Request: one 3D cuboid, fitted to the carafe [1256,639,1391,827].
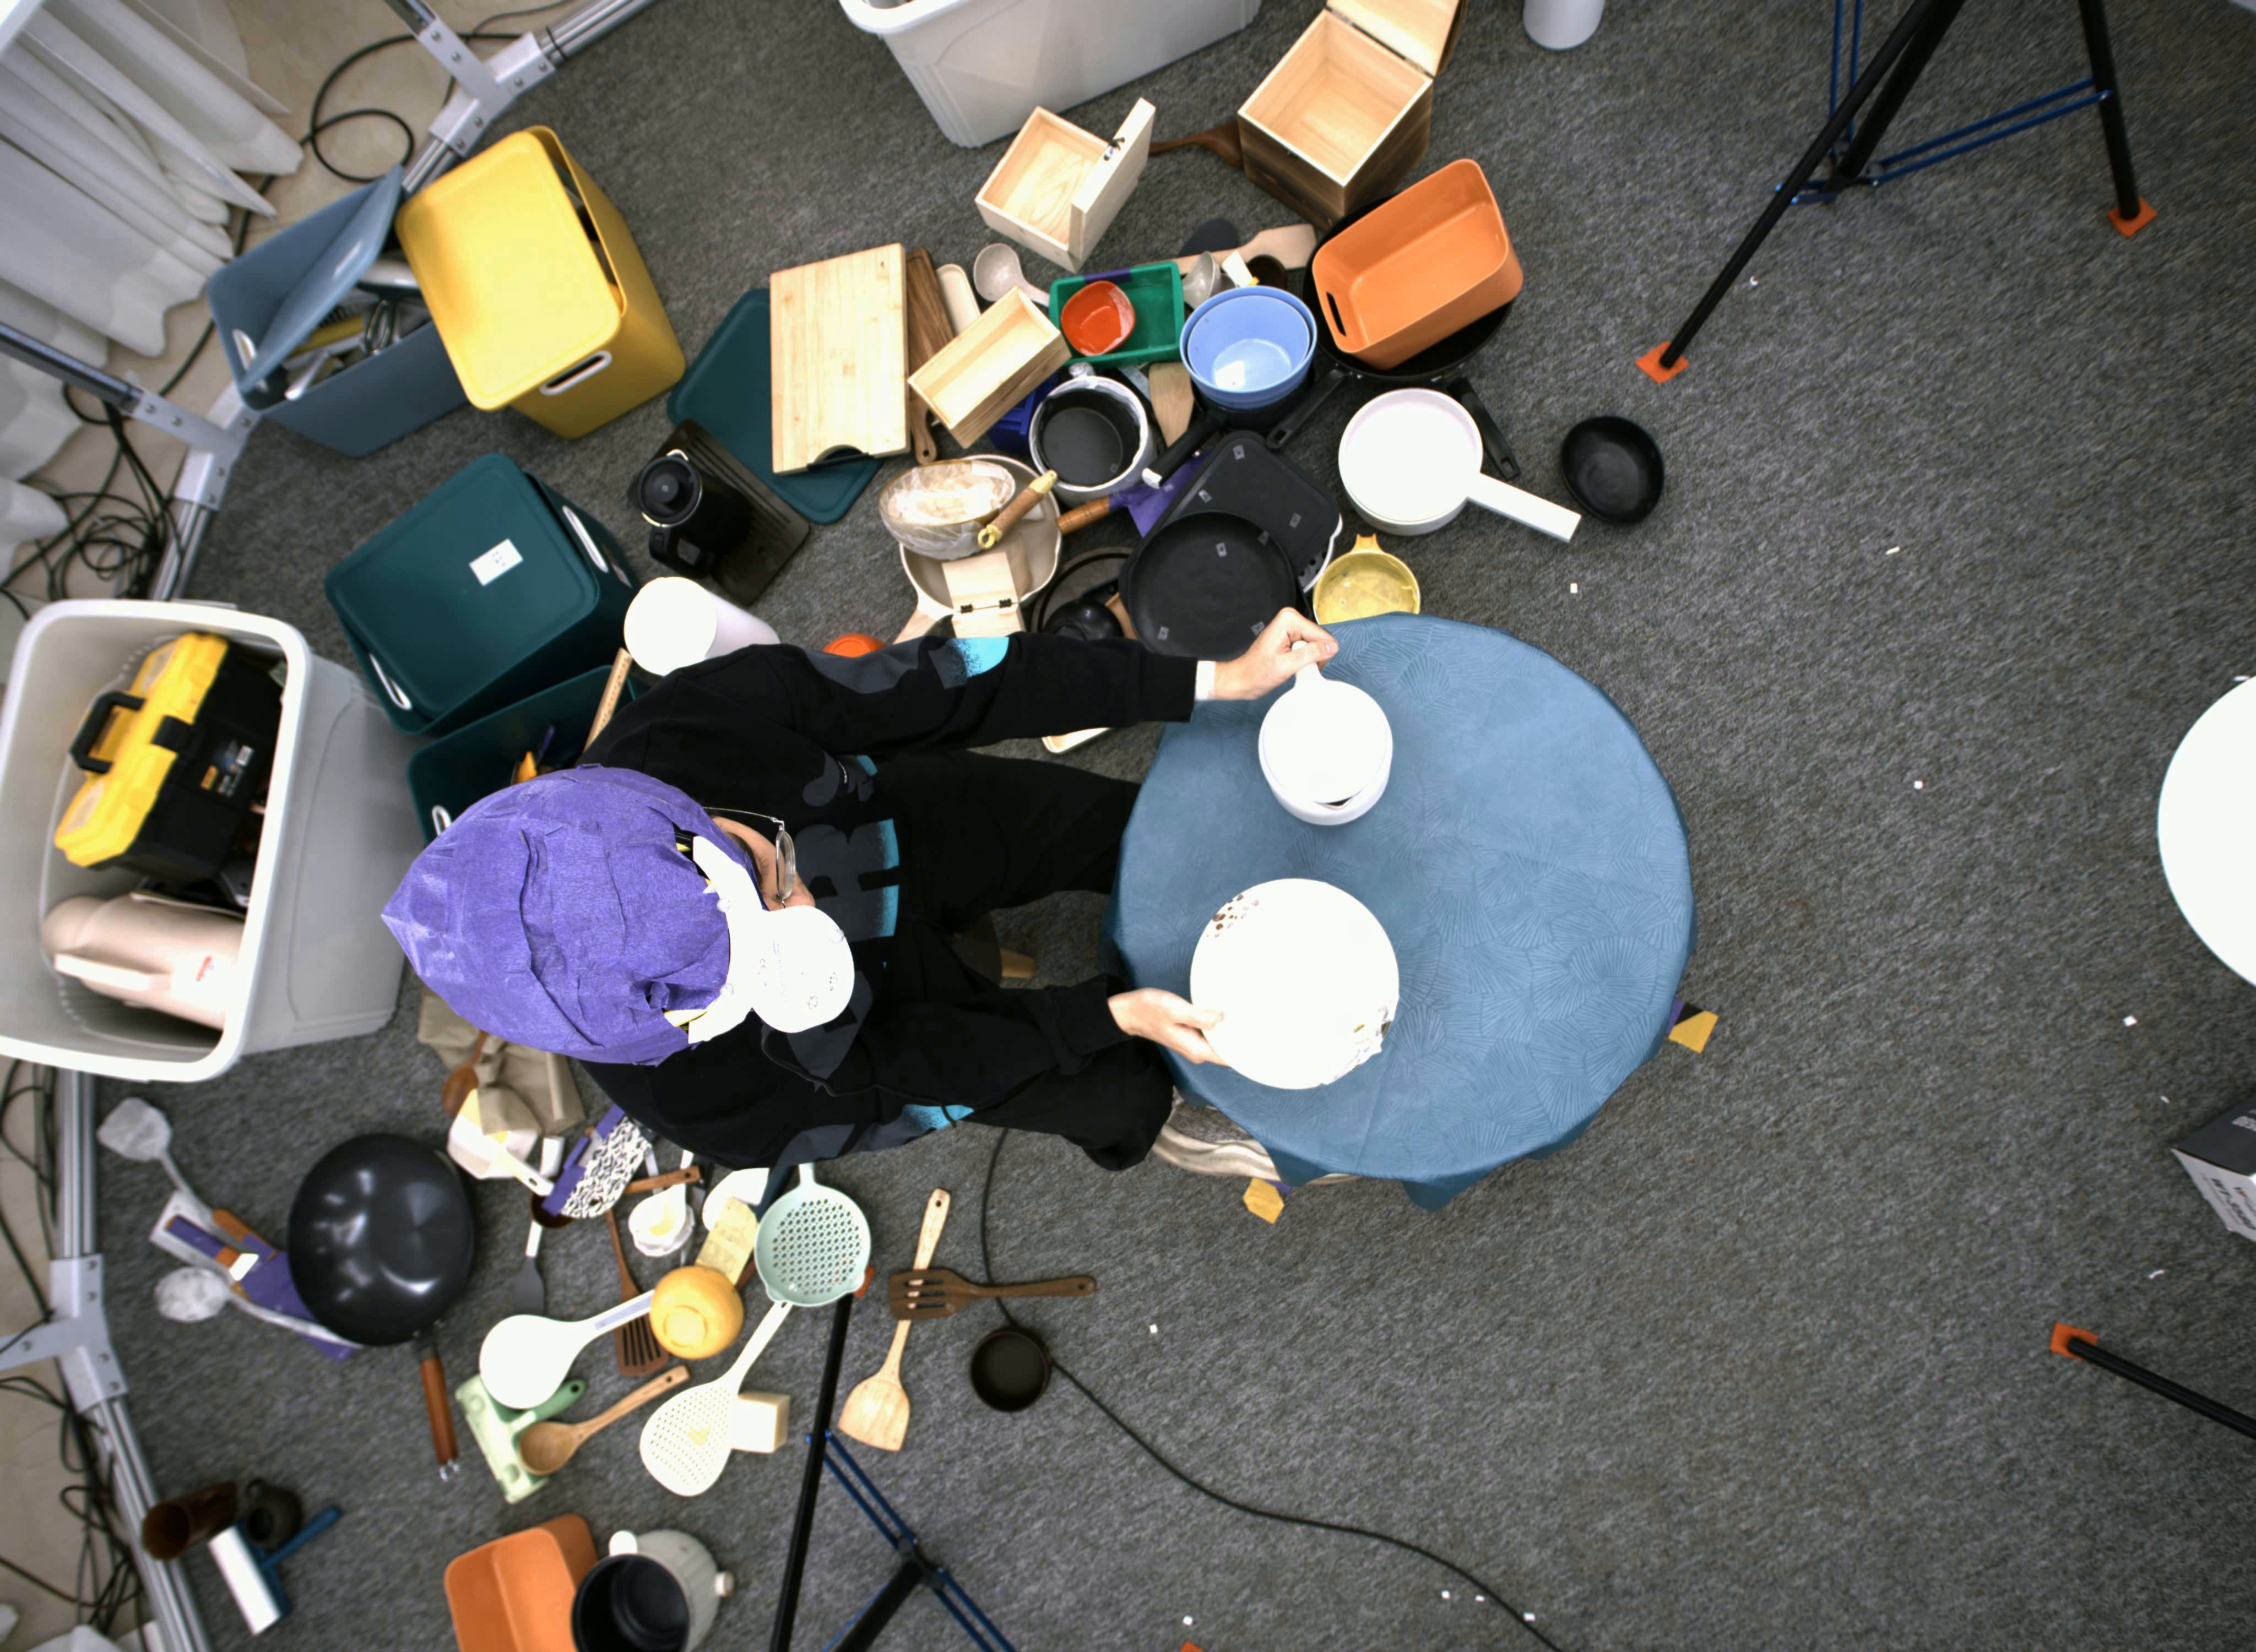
[{"bbox_3d":[0.192,-0.096,1.392,0.133,0.183,0.189,-16,81,7],"label":"carafe"}]

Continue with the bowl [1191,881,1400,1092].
[{"bbox_3d":[0.169,0.158,1.376,0.205,0.078,0.203,-2,85,13],"label":"bowl"}]
